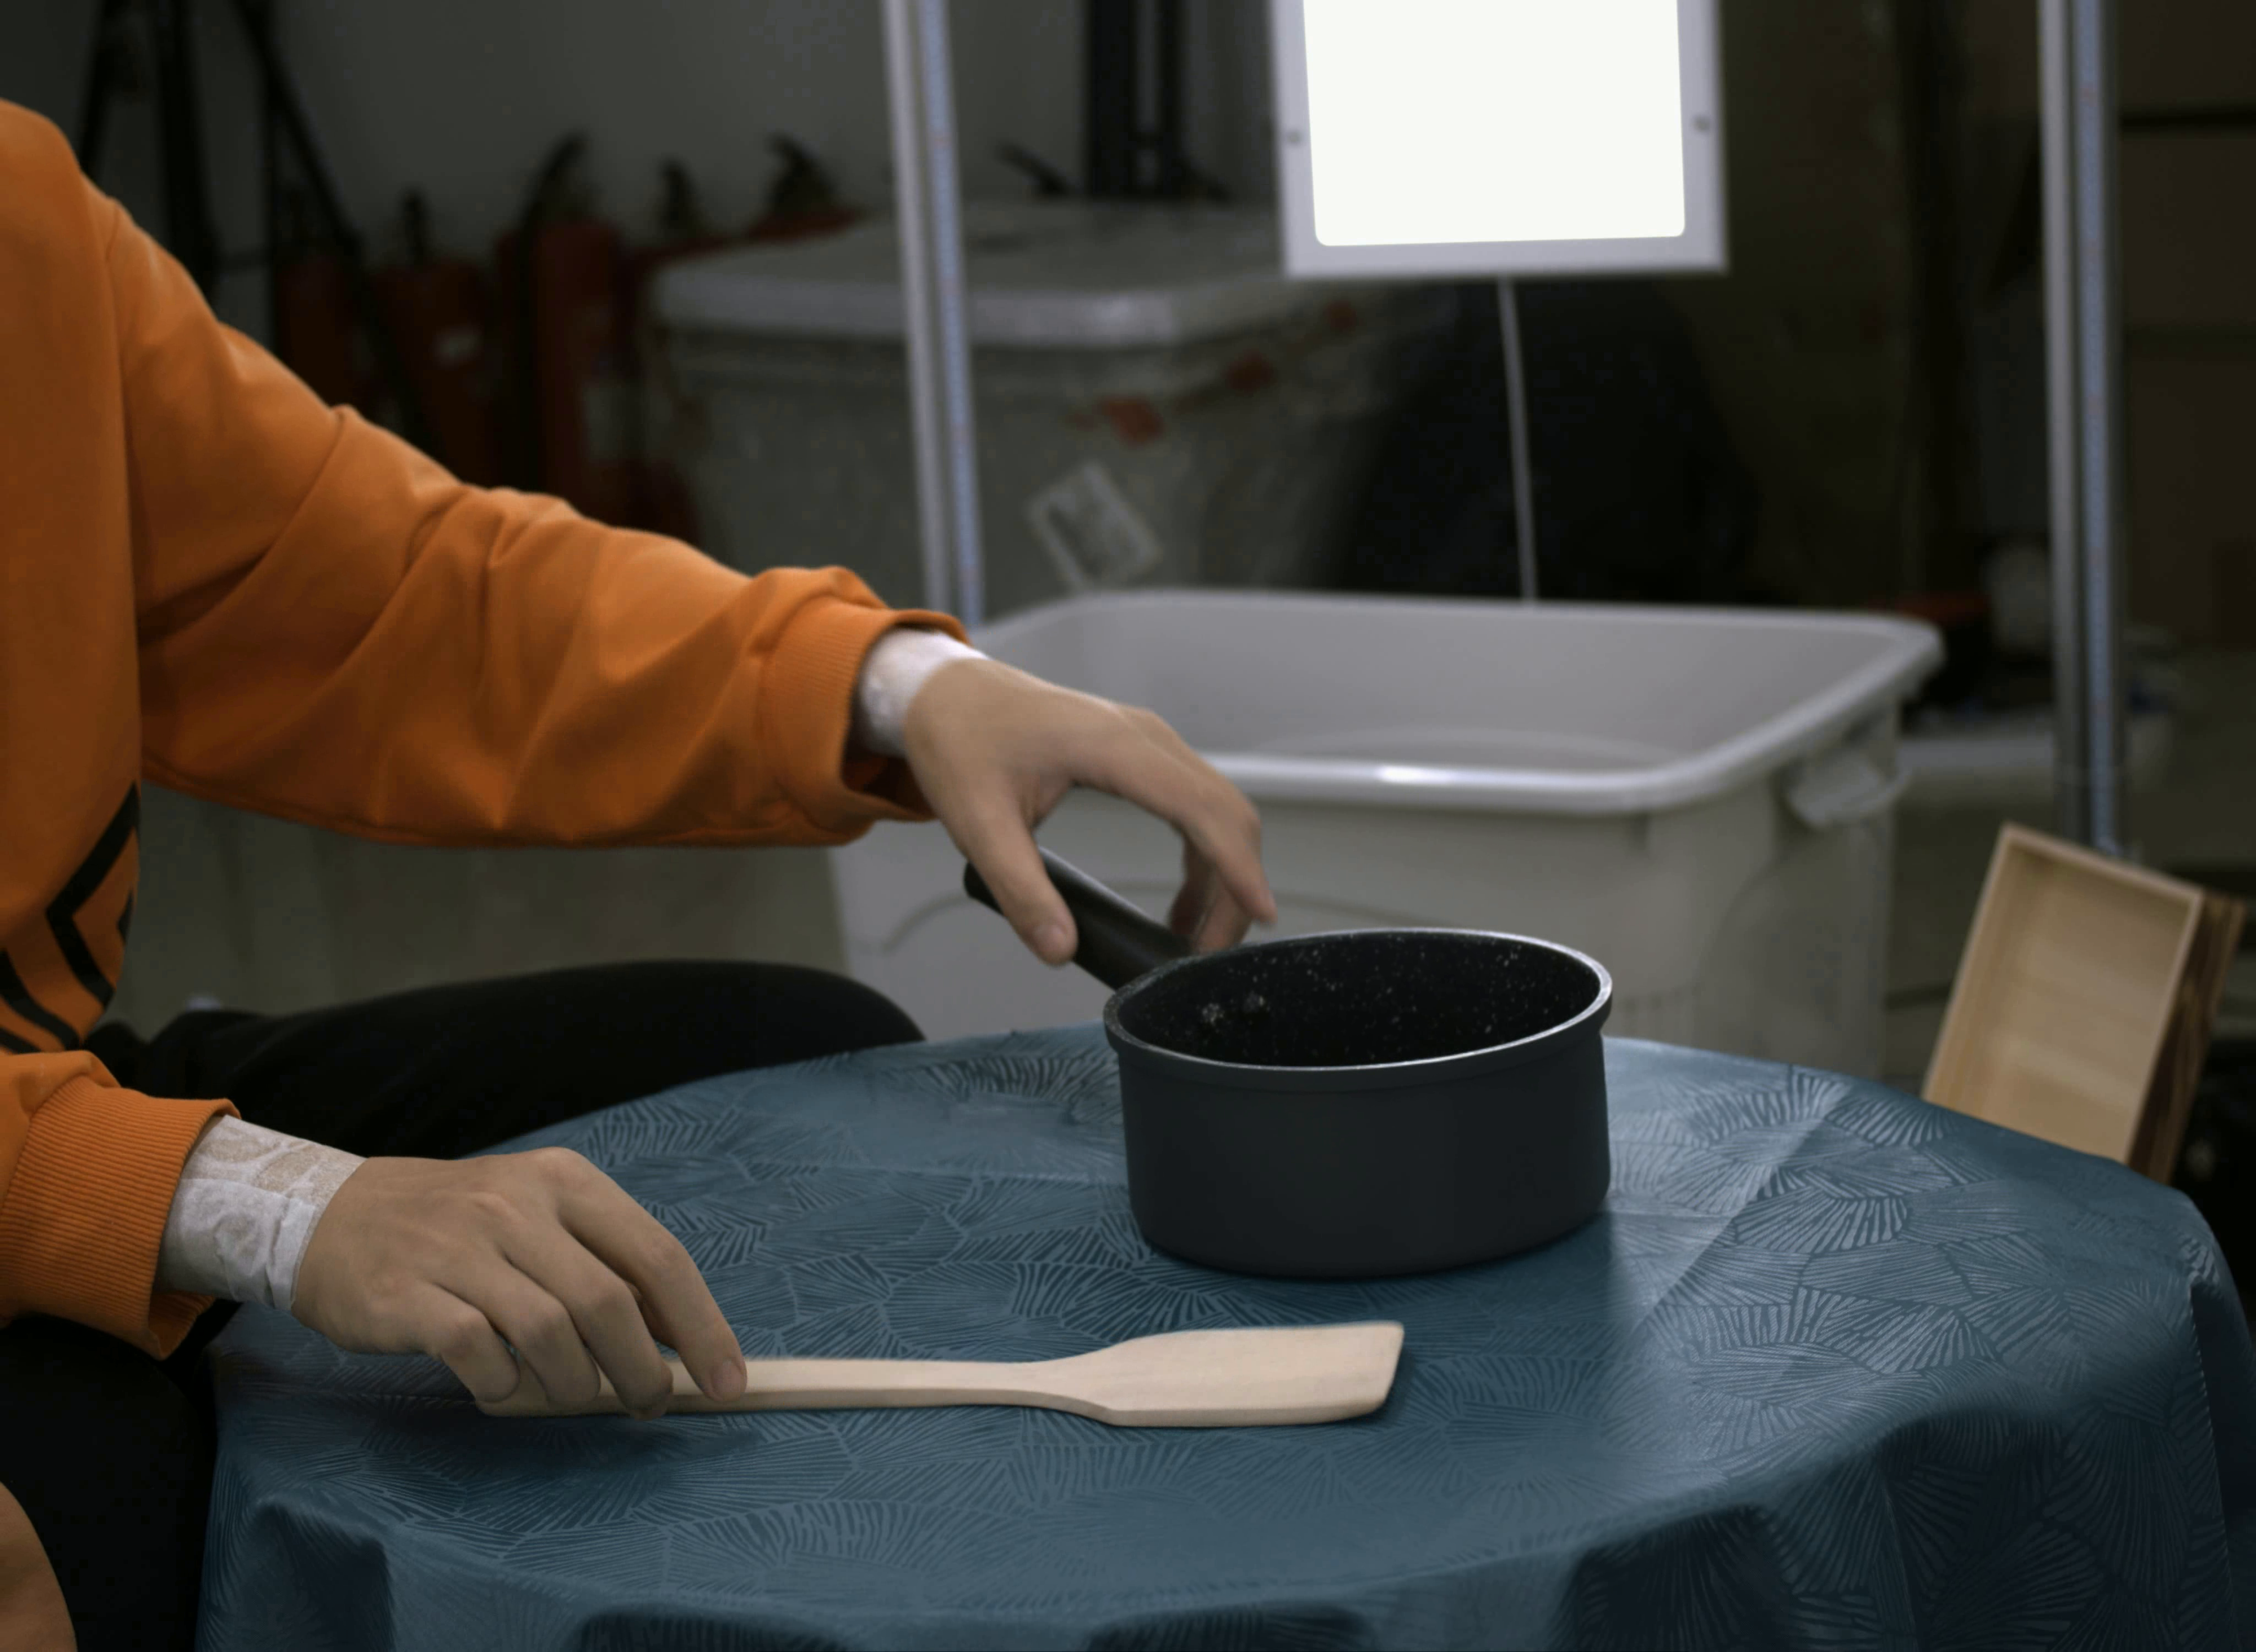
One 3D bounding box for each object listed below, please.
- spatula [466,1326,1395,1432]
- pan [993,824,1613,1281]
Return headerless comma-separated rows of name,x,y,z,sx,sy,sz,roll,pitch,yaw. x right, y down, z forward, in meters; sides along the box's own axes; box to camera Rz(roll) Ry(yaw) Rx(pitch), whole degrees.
spatula,-0.064,0.170,1.713,0.295,0.011,0.071,0,18,12
pan,0.041,0.074,1.916,0.168,0.087,0.334,-11,17,-26
